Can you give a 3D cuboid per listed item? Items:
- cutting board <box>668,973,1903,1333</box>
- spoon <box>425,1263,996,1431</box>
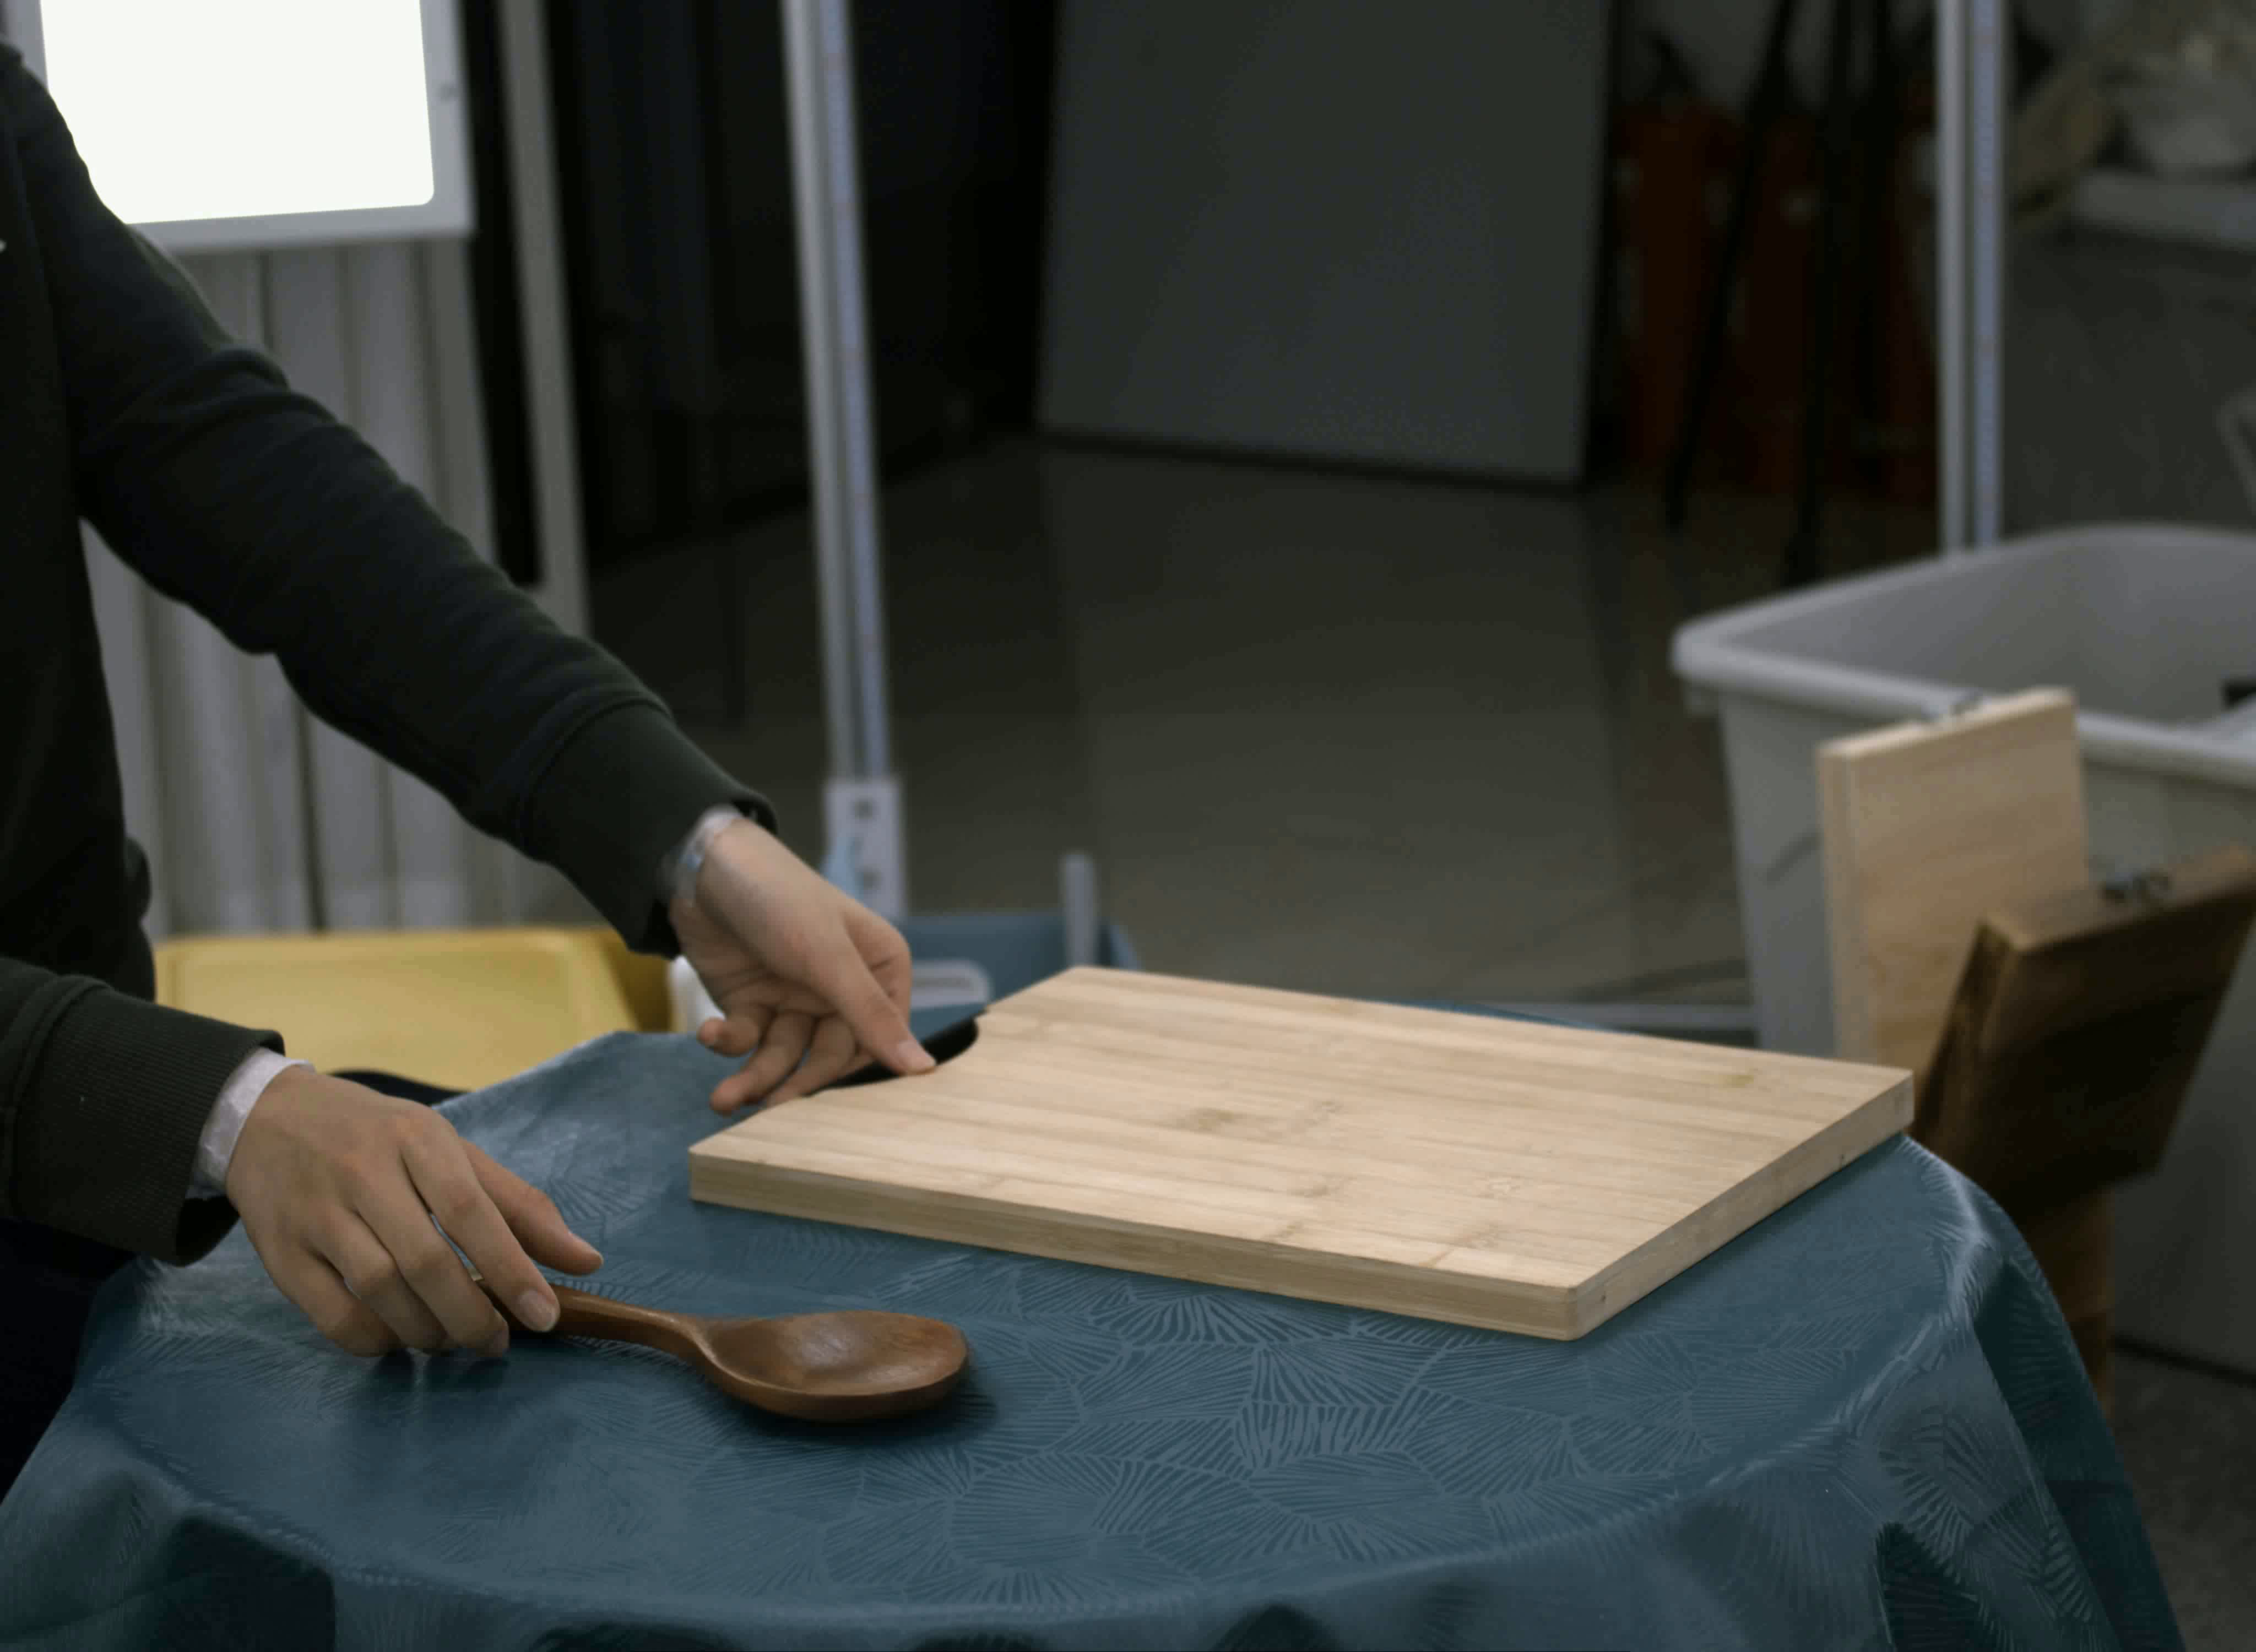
[{"bbox_3d":[0.053,0.104,1.793,0.350,0.024,0.246,5,16,33],"label":"cutting board"},{"bbox_3d":[-0.130,0.156,1.632,0.217,0.017,0.074,8,20,38],"label":"spoon"}]
